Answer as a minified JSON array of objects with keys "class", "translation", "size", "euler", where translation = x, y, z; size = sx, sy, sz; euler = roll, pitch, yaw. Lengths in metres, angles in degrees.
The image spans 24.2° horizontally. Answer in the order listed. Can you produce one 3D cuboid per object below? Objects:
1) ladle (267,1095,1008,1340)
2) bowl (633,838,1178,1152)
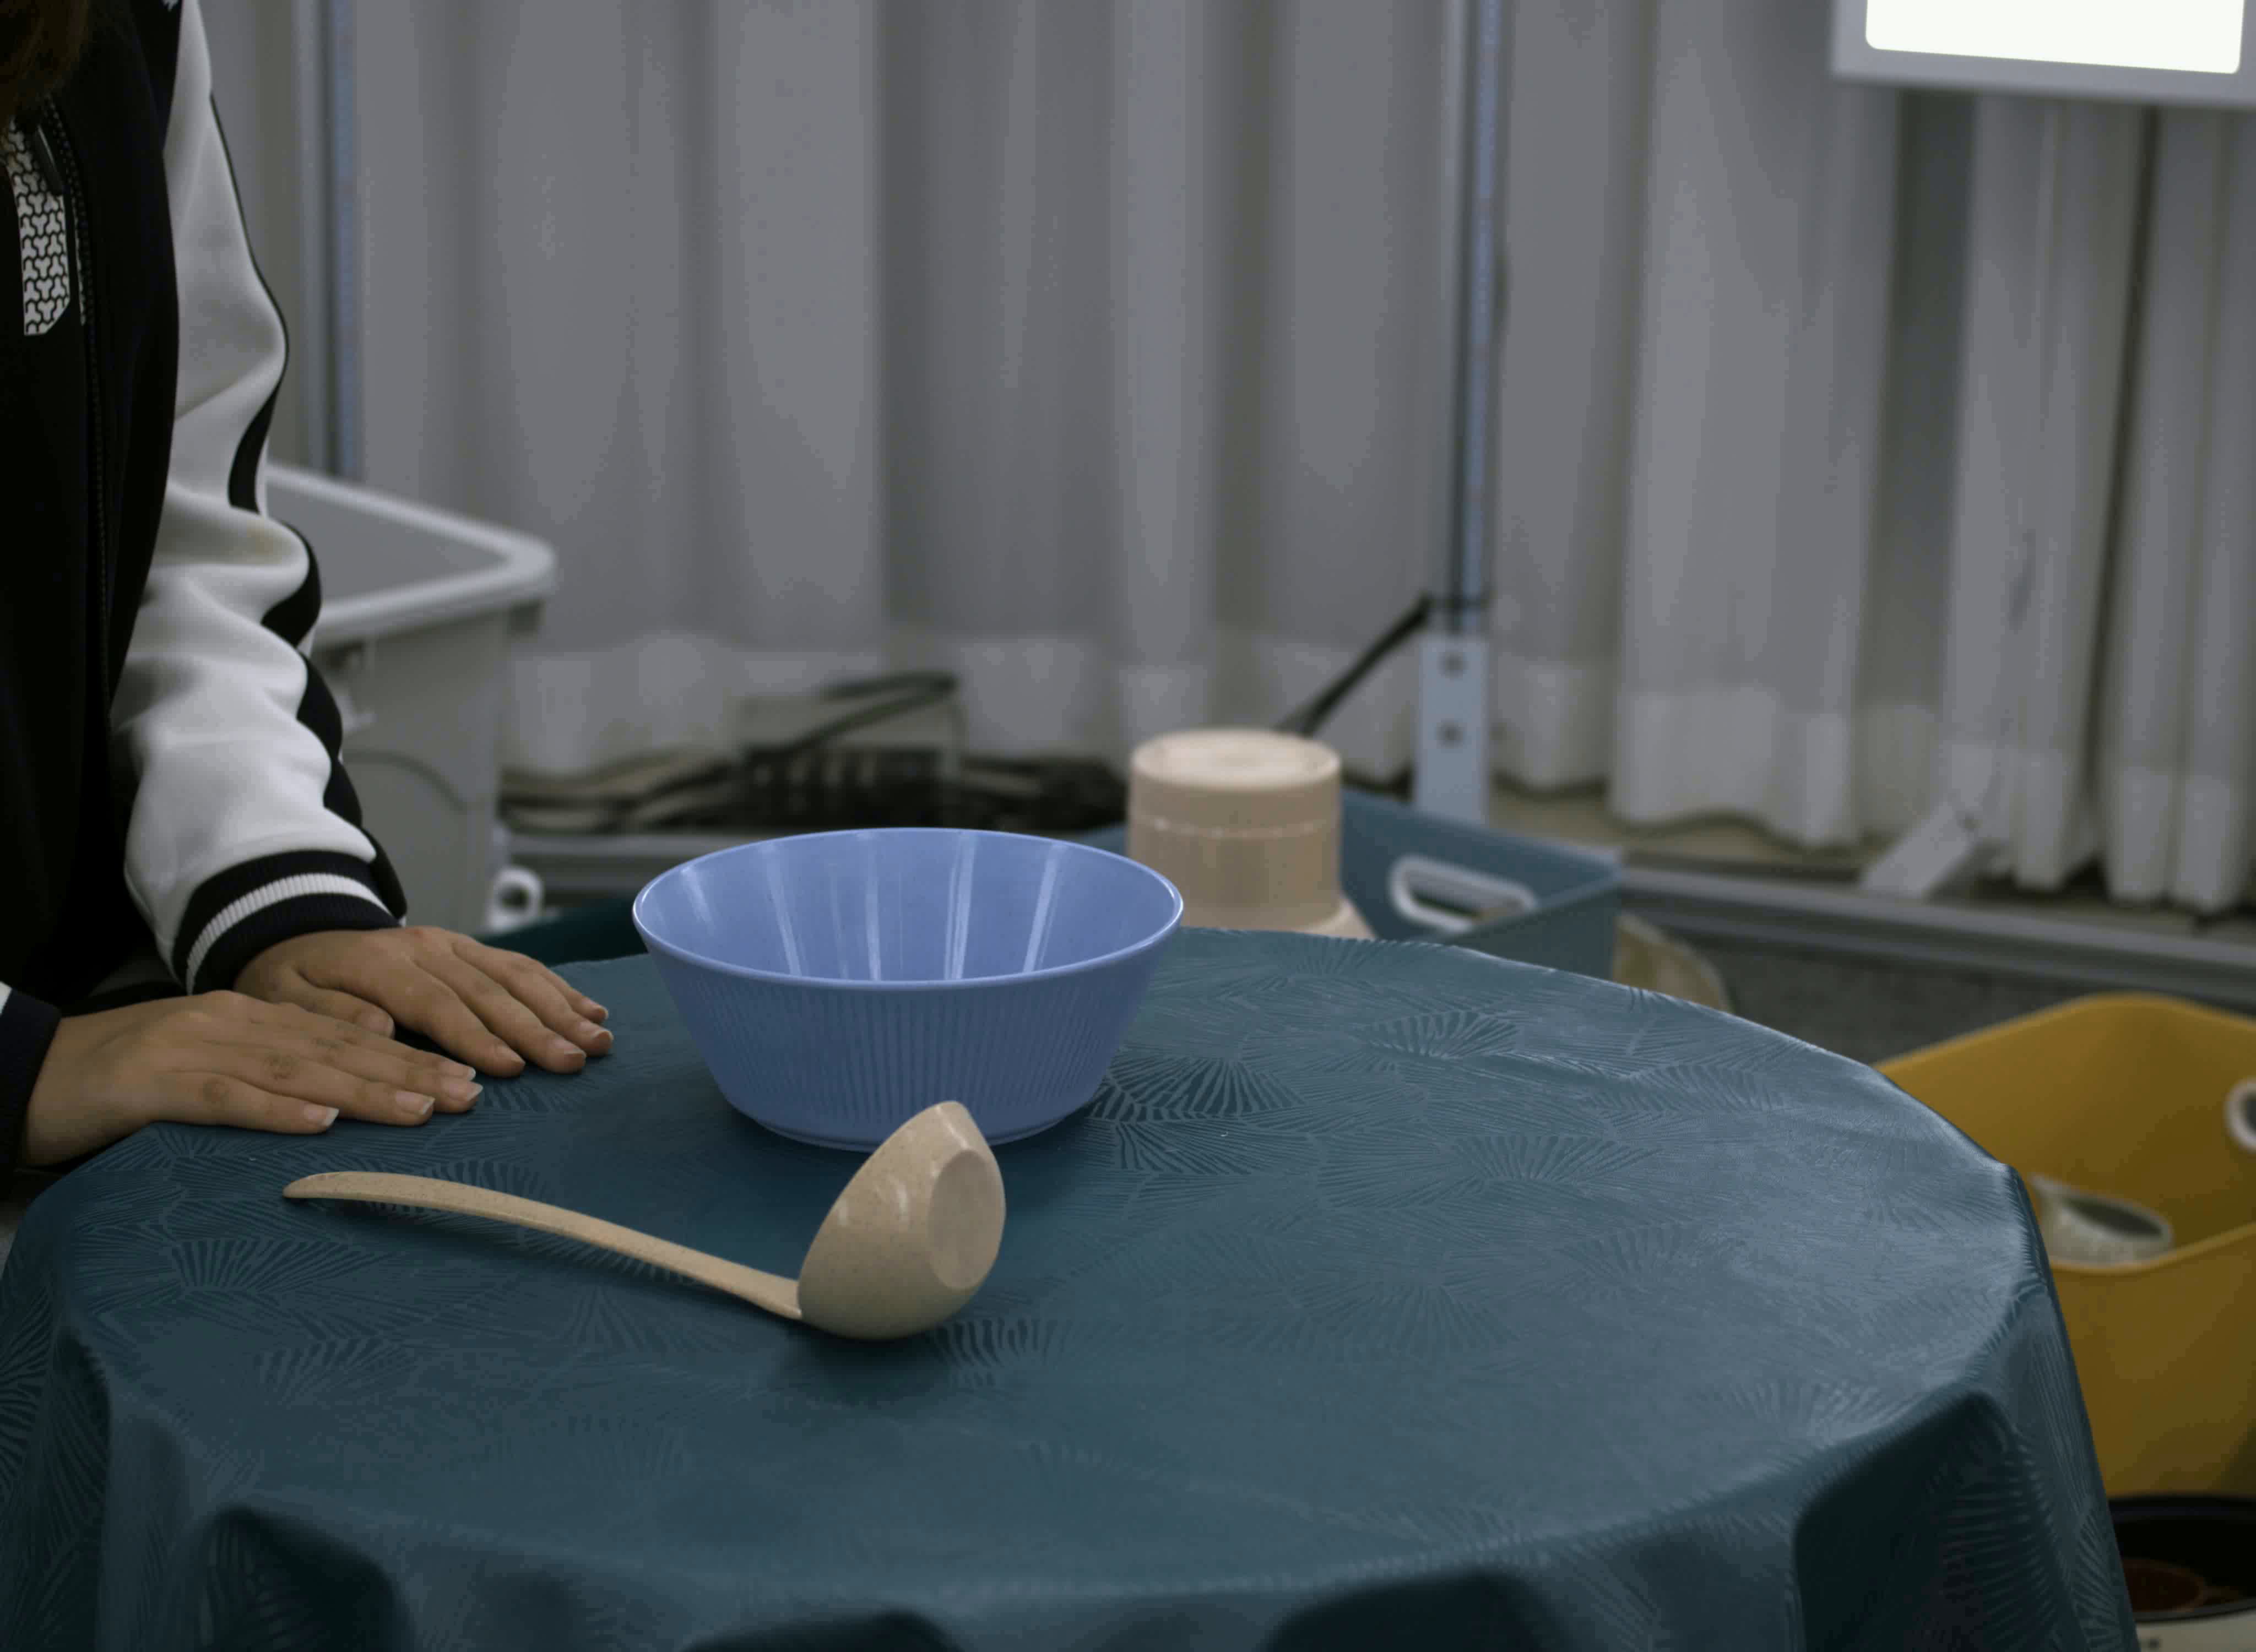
[{"class":"ladle","translation":[-0.152,0.096,1.536],"size":[0.251,0.073,0.072],"euler":[9,18,28]},{"class":"bowl","translation":[-0.071,0.056,1.691],"size":[0.175,0.071,0.175],"euler":[1,15,0]}]
